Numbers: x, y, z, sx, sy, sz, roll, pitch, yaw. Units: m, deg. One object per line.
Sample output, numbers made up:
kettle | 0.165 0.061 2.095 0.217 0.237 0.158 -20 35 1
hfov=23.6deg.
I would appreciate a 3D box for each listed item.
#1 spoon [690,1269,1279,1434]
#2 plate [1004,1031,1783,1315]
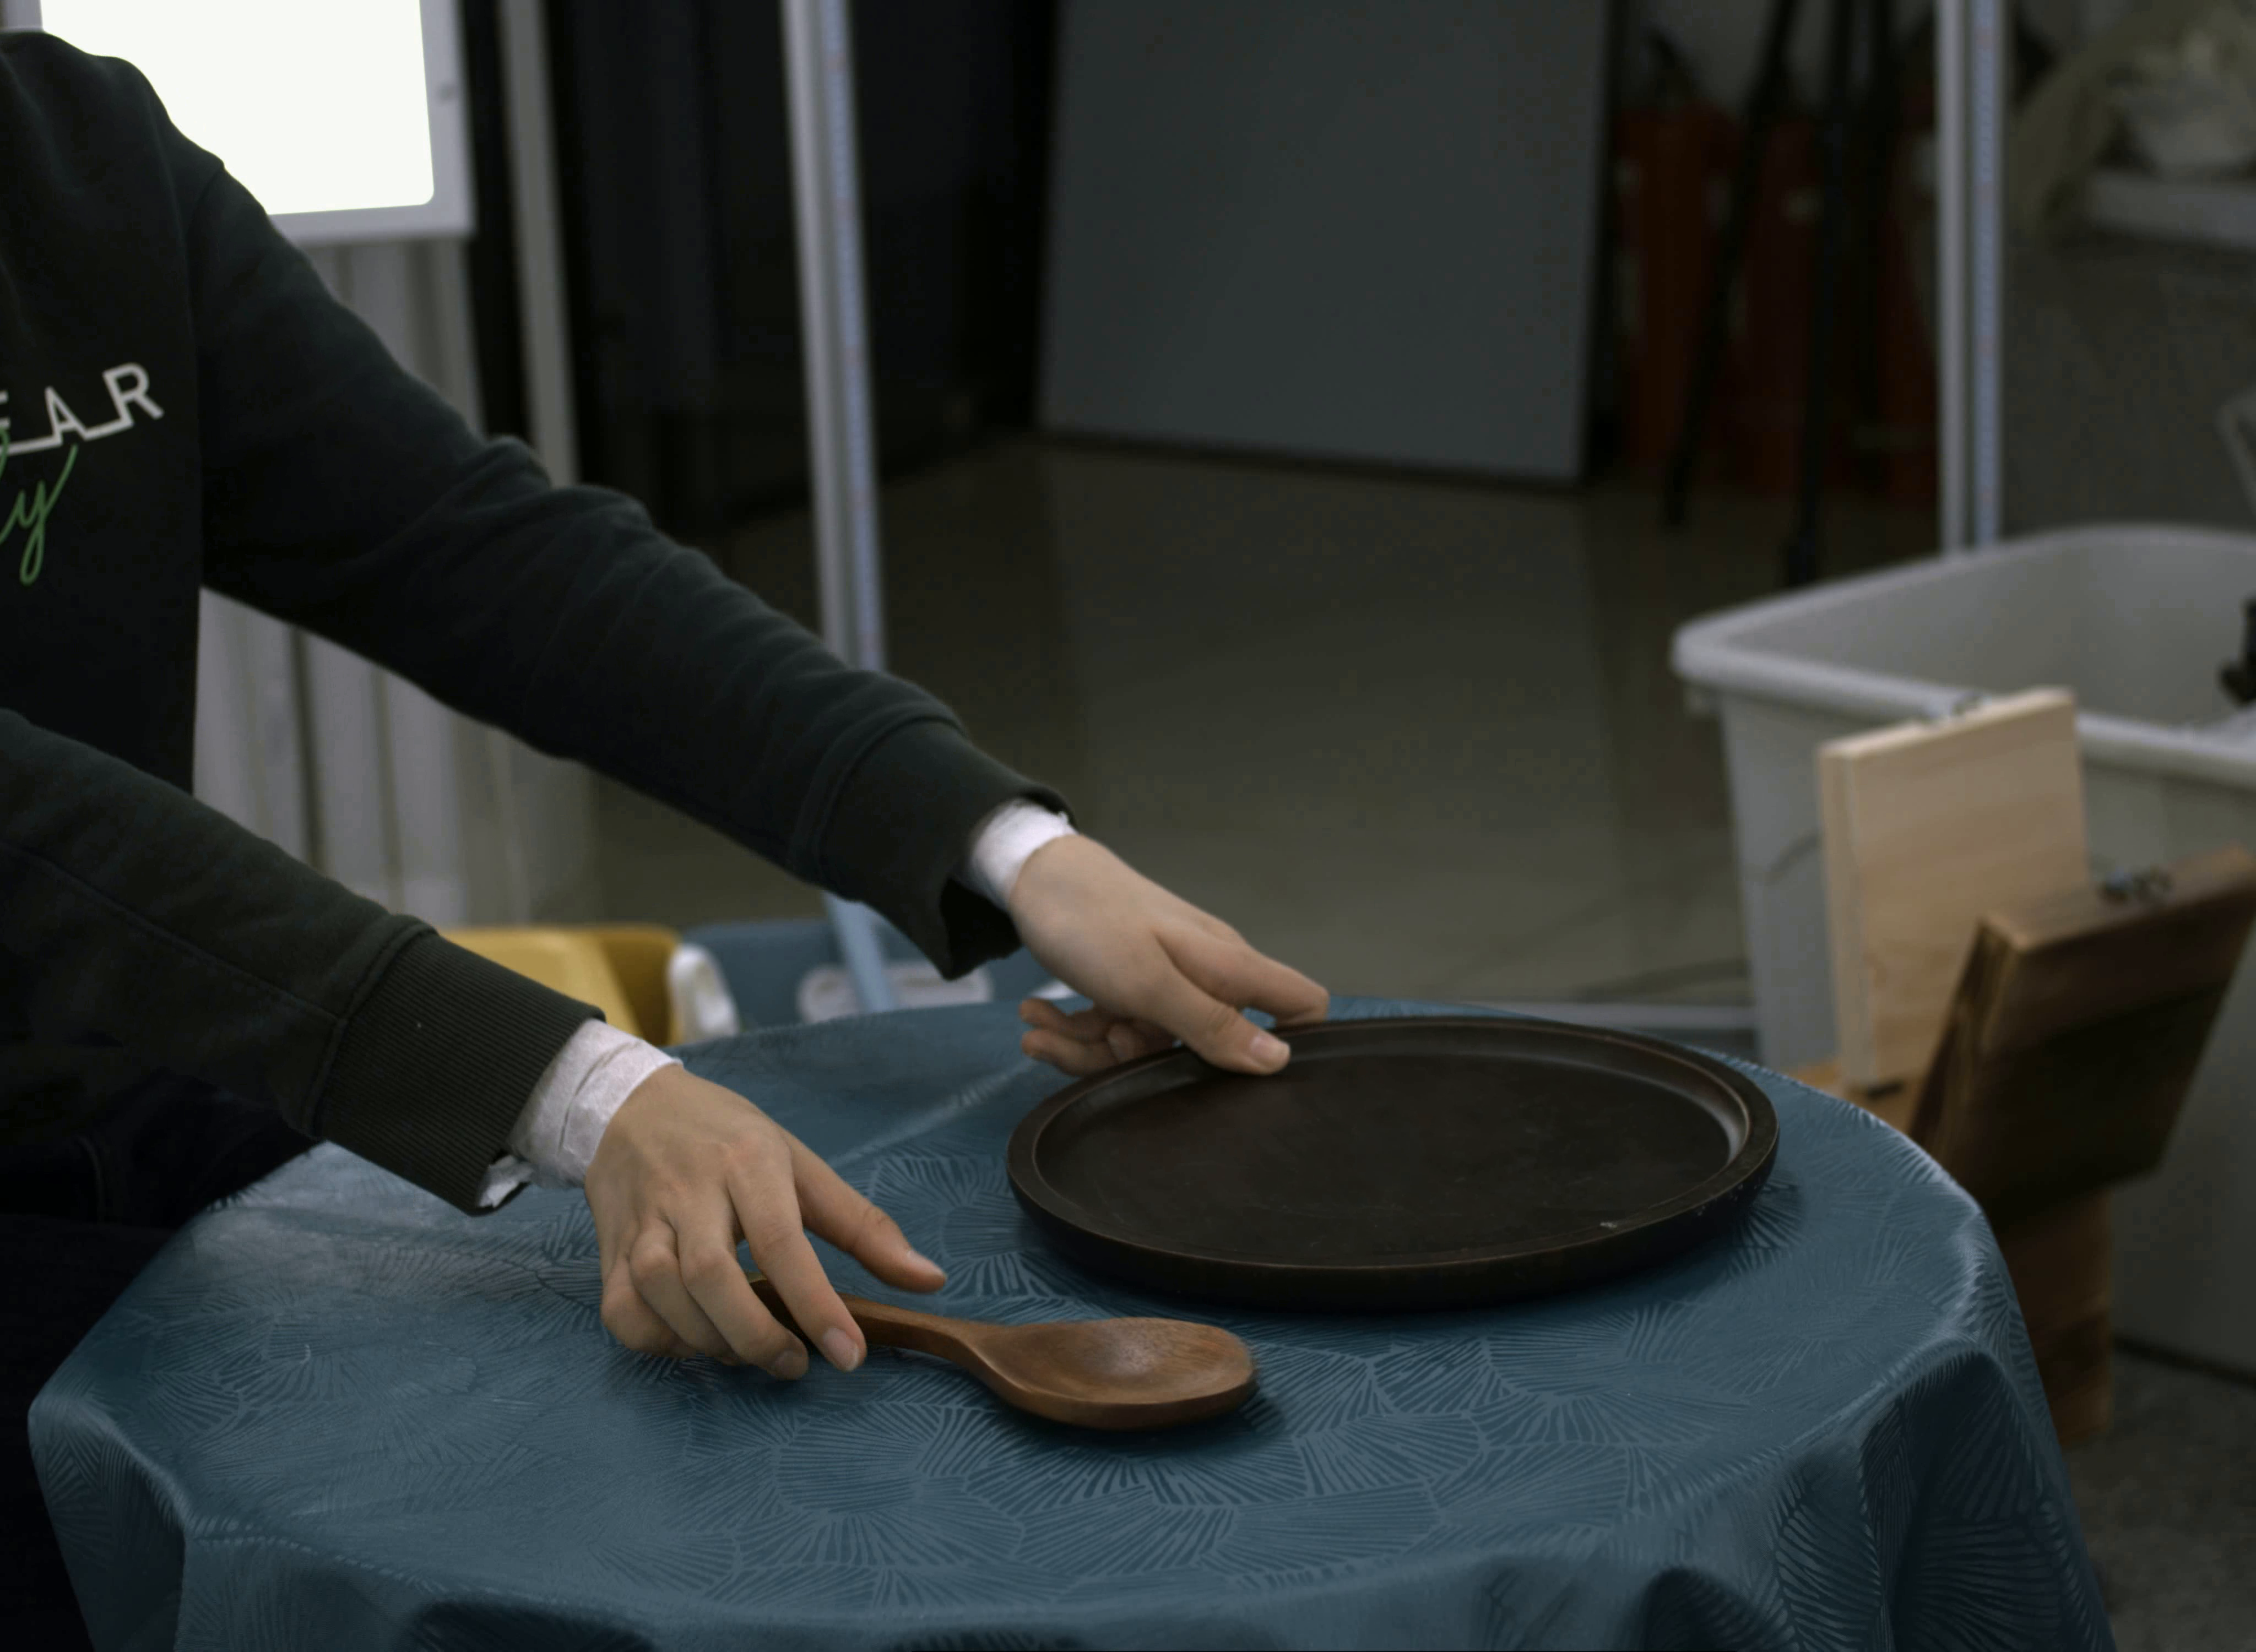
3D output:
spoon | -0.047 0.156 1.610 0.217 0.017 0.074 7 18 39
plate | 0.086 0.109 1.740 0.251 0.029 0.255 -3 15 0
